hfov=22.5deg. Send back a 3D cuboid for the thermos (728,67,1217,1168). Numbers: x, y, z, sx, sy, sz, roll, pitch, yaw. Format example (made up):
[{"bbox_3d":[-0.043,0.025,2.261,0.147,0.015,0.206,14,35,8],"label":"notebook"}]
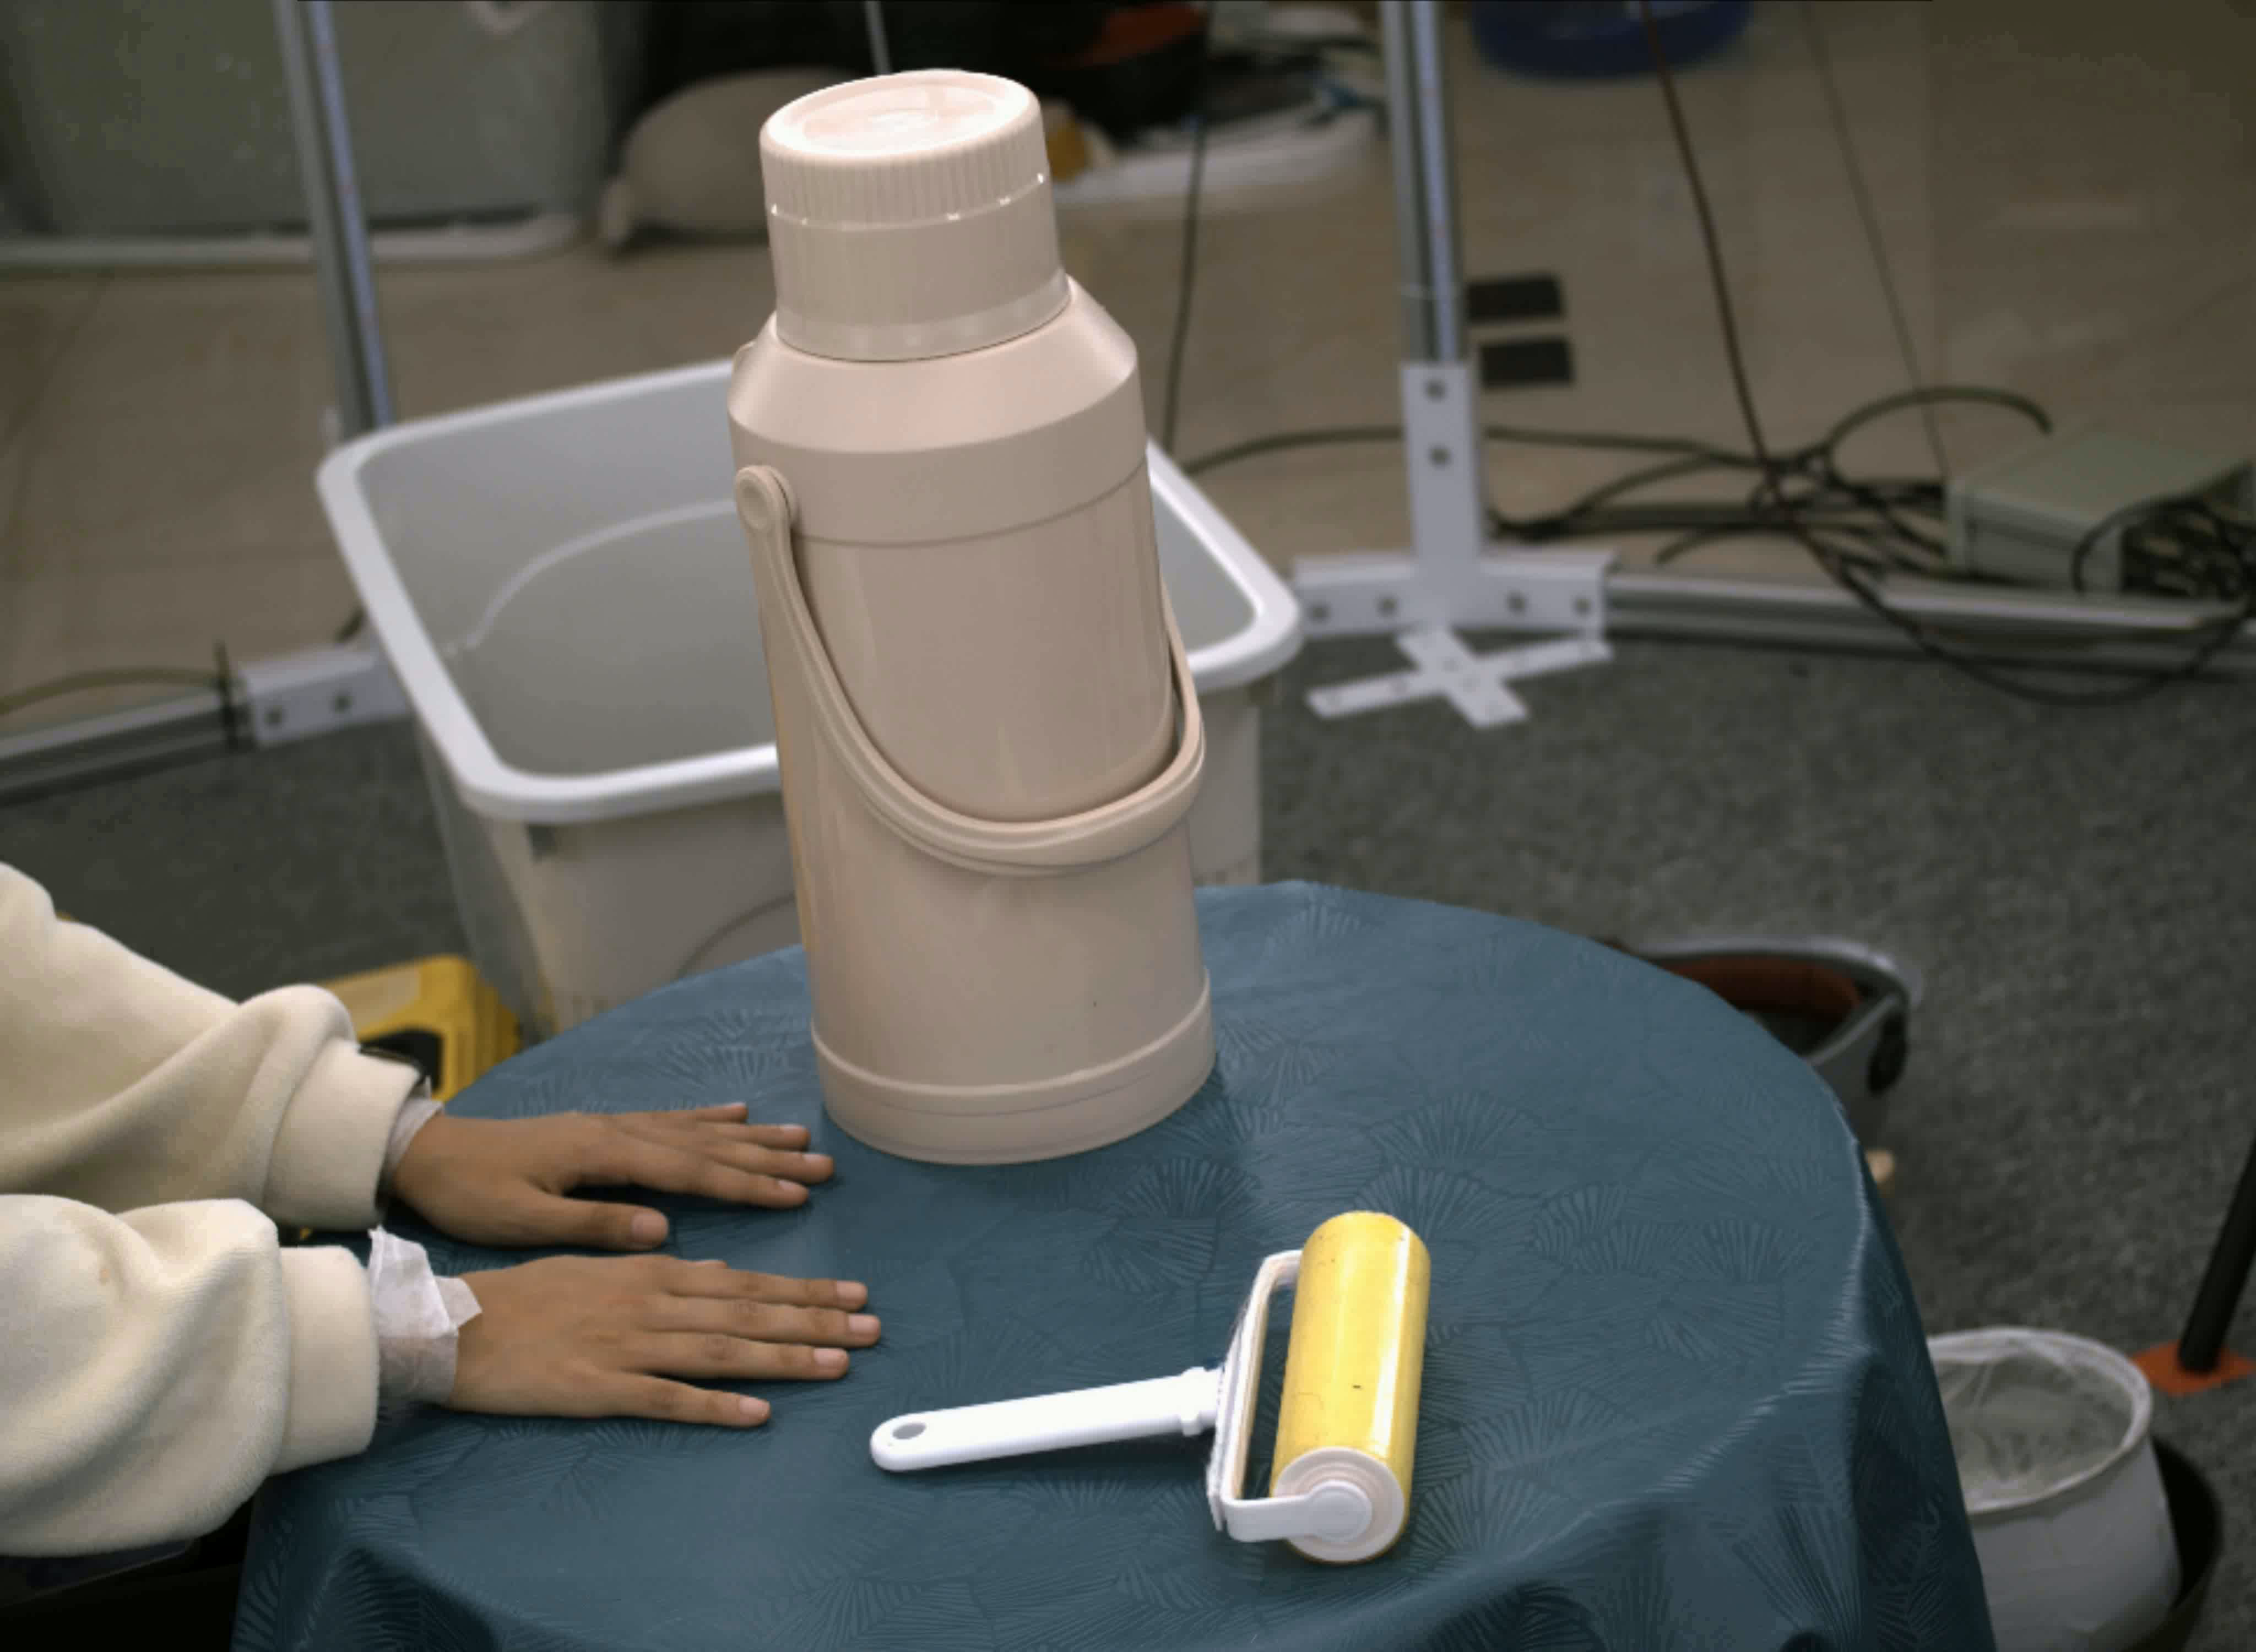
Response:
[{"bbox_3d":[-0.071,-0.085,2.169,0.174,0.413,0.205,-25,31,-33],"label":"thermos"}]

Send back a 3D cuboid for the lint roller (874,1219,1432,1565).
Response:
[{"bbox_3d":[0.007,0.193,1.964,0.191,0.052,0.172,2,25,4],"label":"lint roller"}]
